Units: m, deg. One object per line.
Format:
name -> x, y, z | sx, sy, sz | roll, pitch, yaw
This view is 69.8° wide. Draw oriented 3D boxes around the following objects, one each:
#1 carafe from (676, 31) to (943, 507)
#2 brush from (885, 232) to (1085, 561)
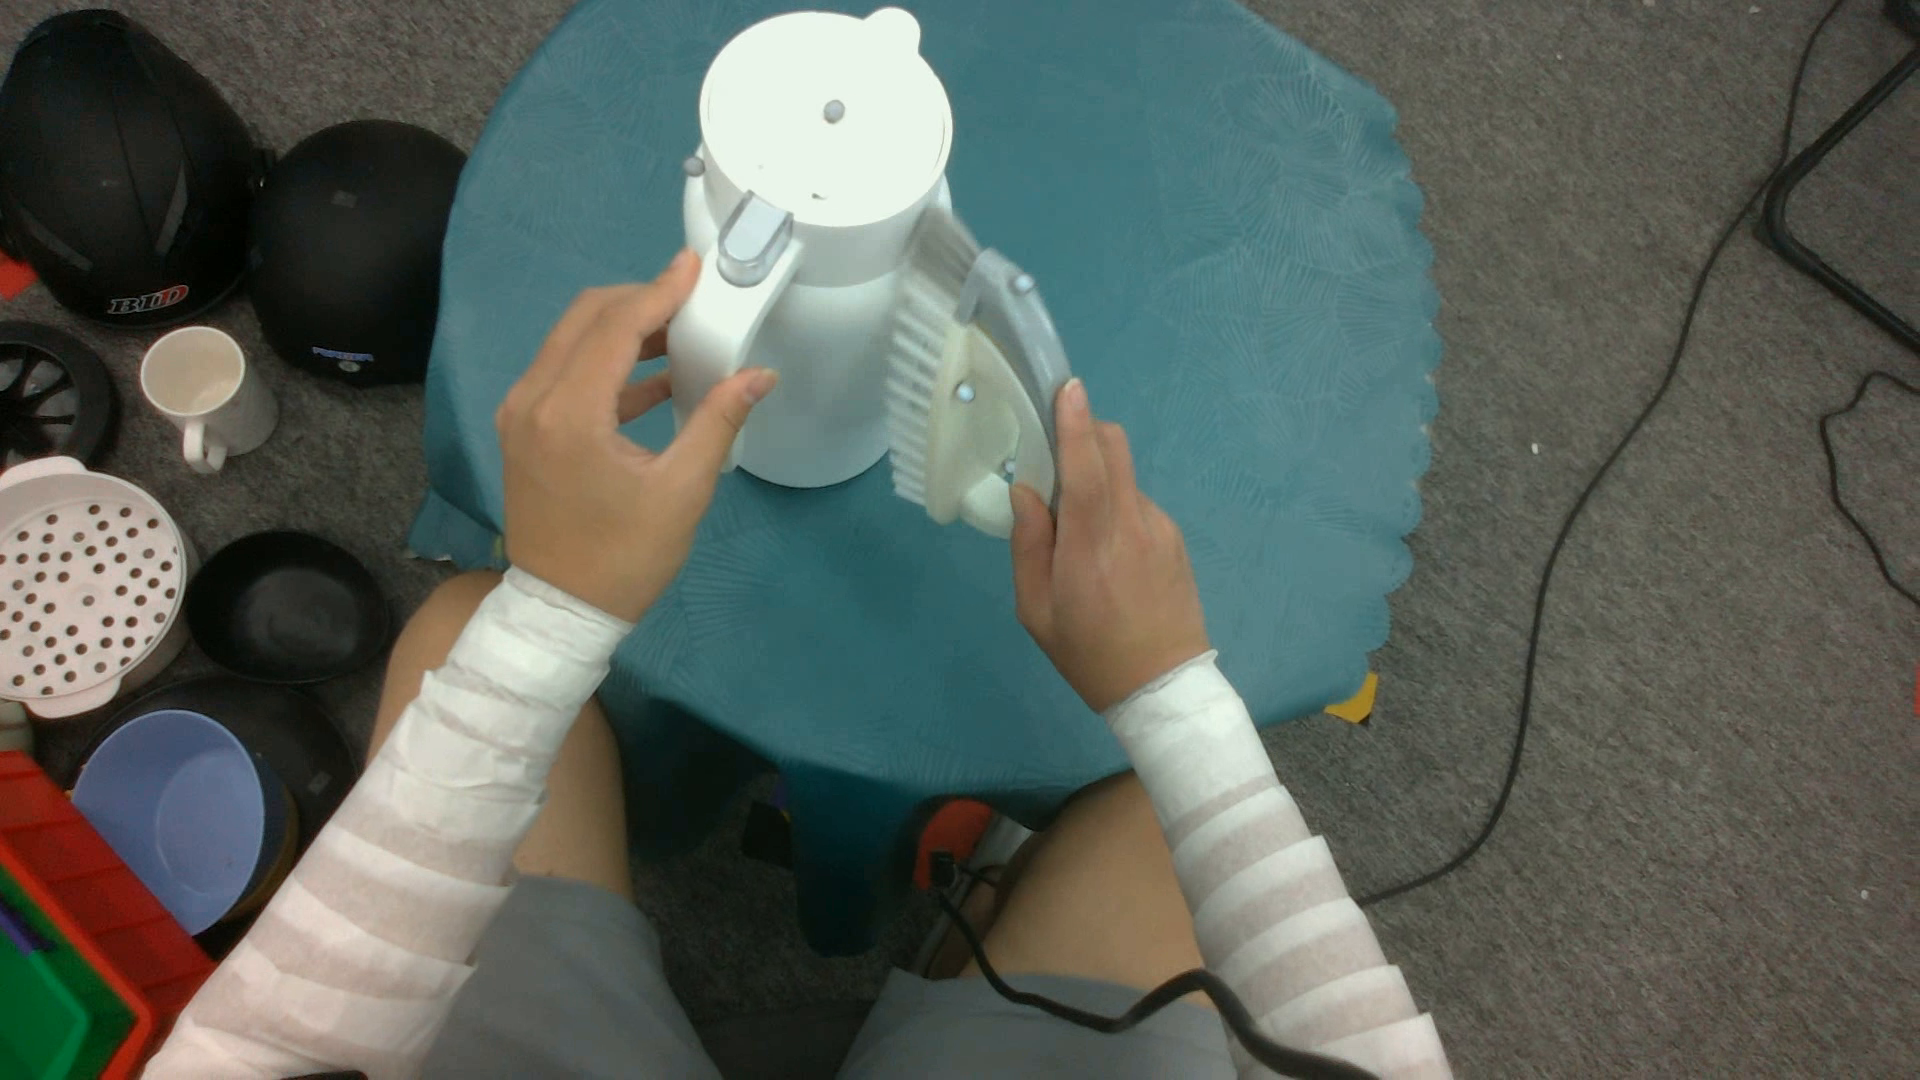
carafe -> -0.080, -0.100, 0.672 | 0.124, 0.268, 0.173 | 25, 69, -1
brush -> 0.014, -0.054, 0.623 | 0.094, 0.174, 0.062 | 34, 59, 23
